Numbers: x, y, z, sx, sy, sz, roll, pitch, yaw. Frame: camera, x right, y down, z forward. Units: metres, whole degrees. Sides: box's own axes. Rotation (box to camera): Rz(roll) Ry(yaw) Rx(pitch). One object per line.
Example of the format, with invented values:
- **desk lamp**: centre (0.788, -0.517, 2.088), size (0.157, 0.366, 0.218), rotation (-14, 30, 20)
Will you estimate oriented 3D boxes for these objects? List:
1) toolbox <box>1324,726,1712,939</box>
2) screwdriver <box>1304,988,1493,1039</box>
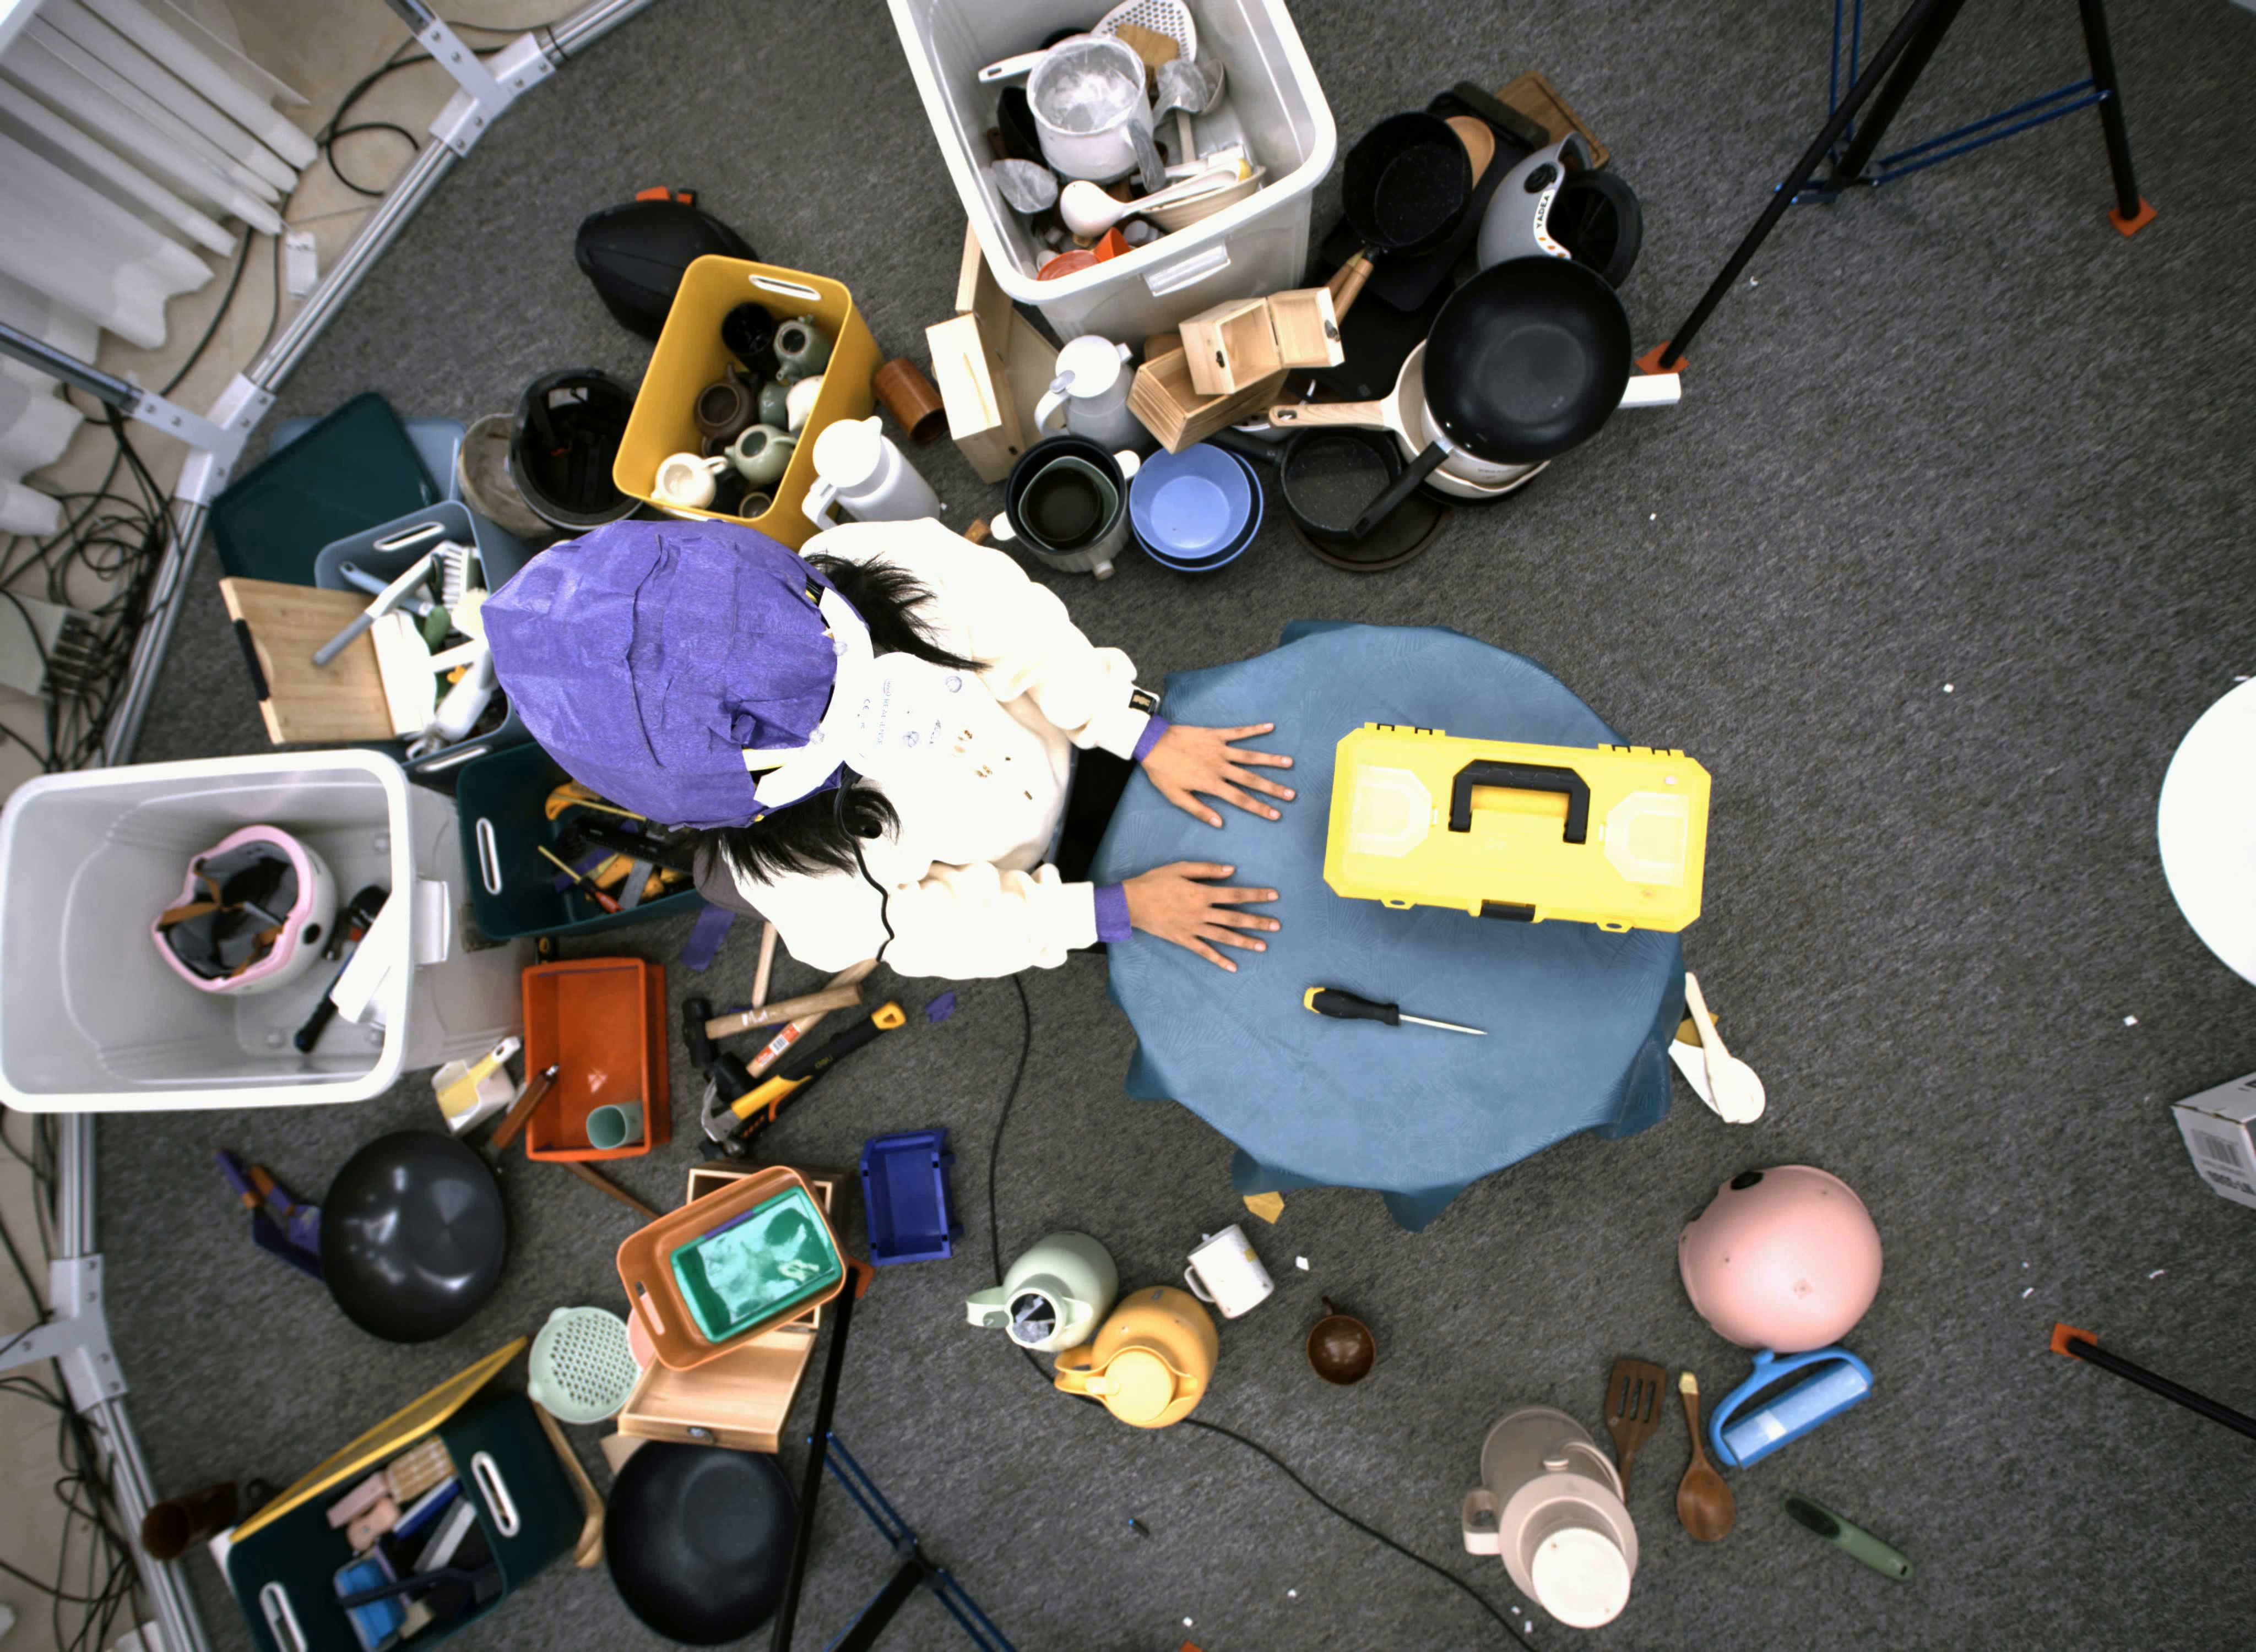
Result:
- **toolbox**: centre (0.376, 0.005, 1.356), size (0.352, 0.173, 0.180), rotation (6, 87, 11)
- **screwdriver**: centre (0.282, 0.198, 1.446), size (0.198, 0.031, 0.031), rotation (11, 87, 7)
